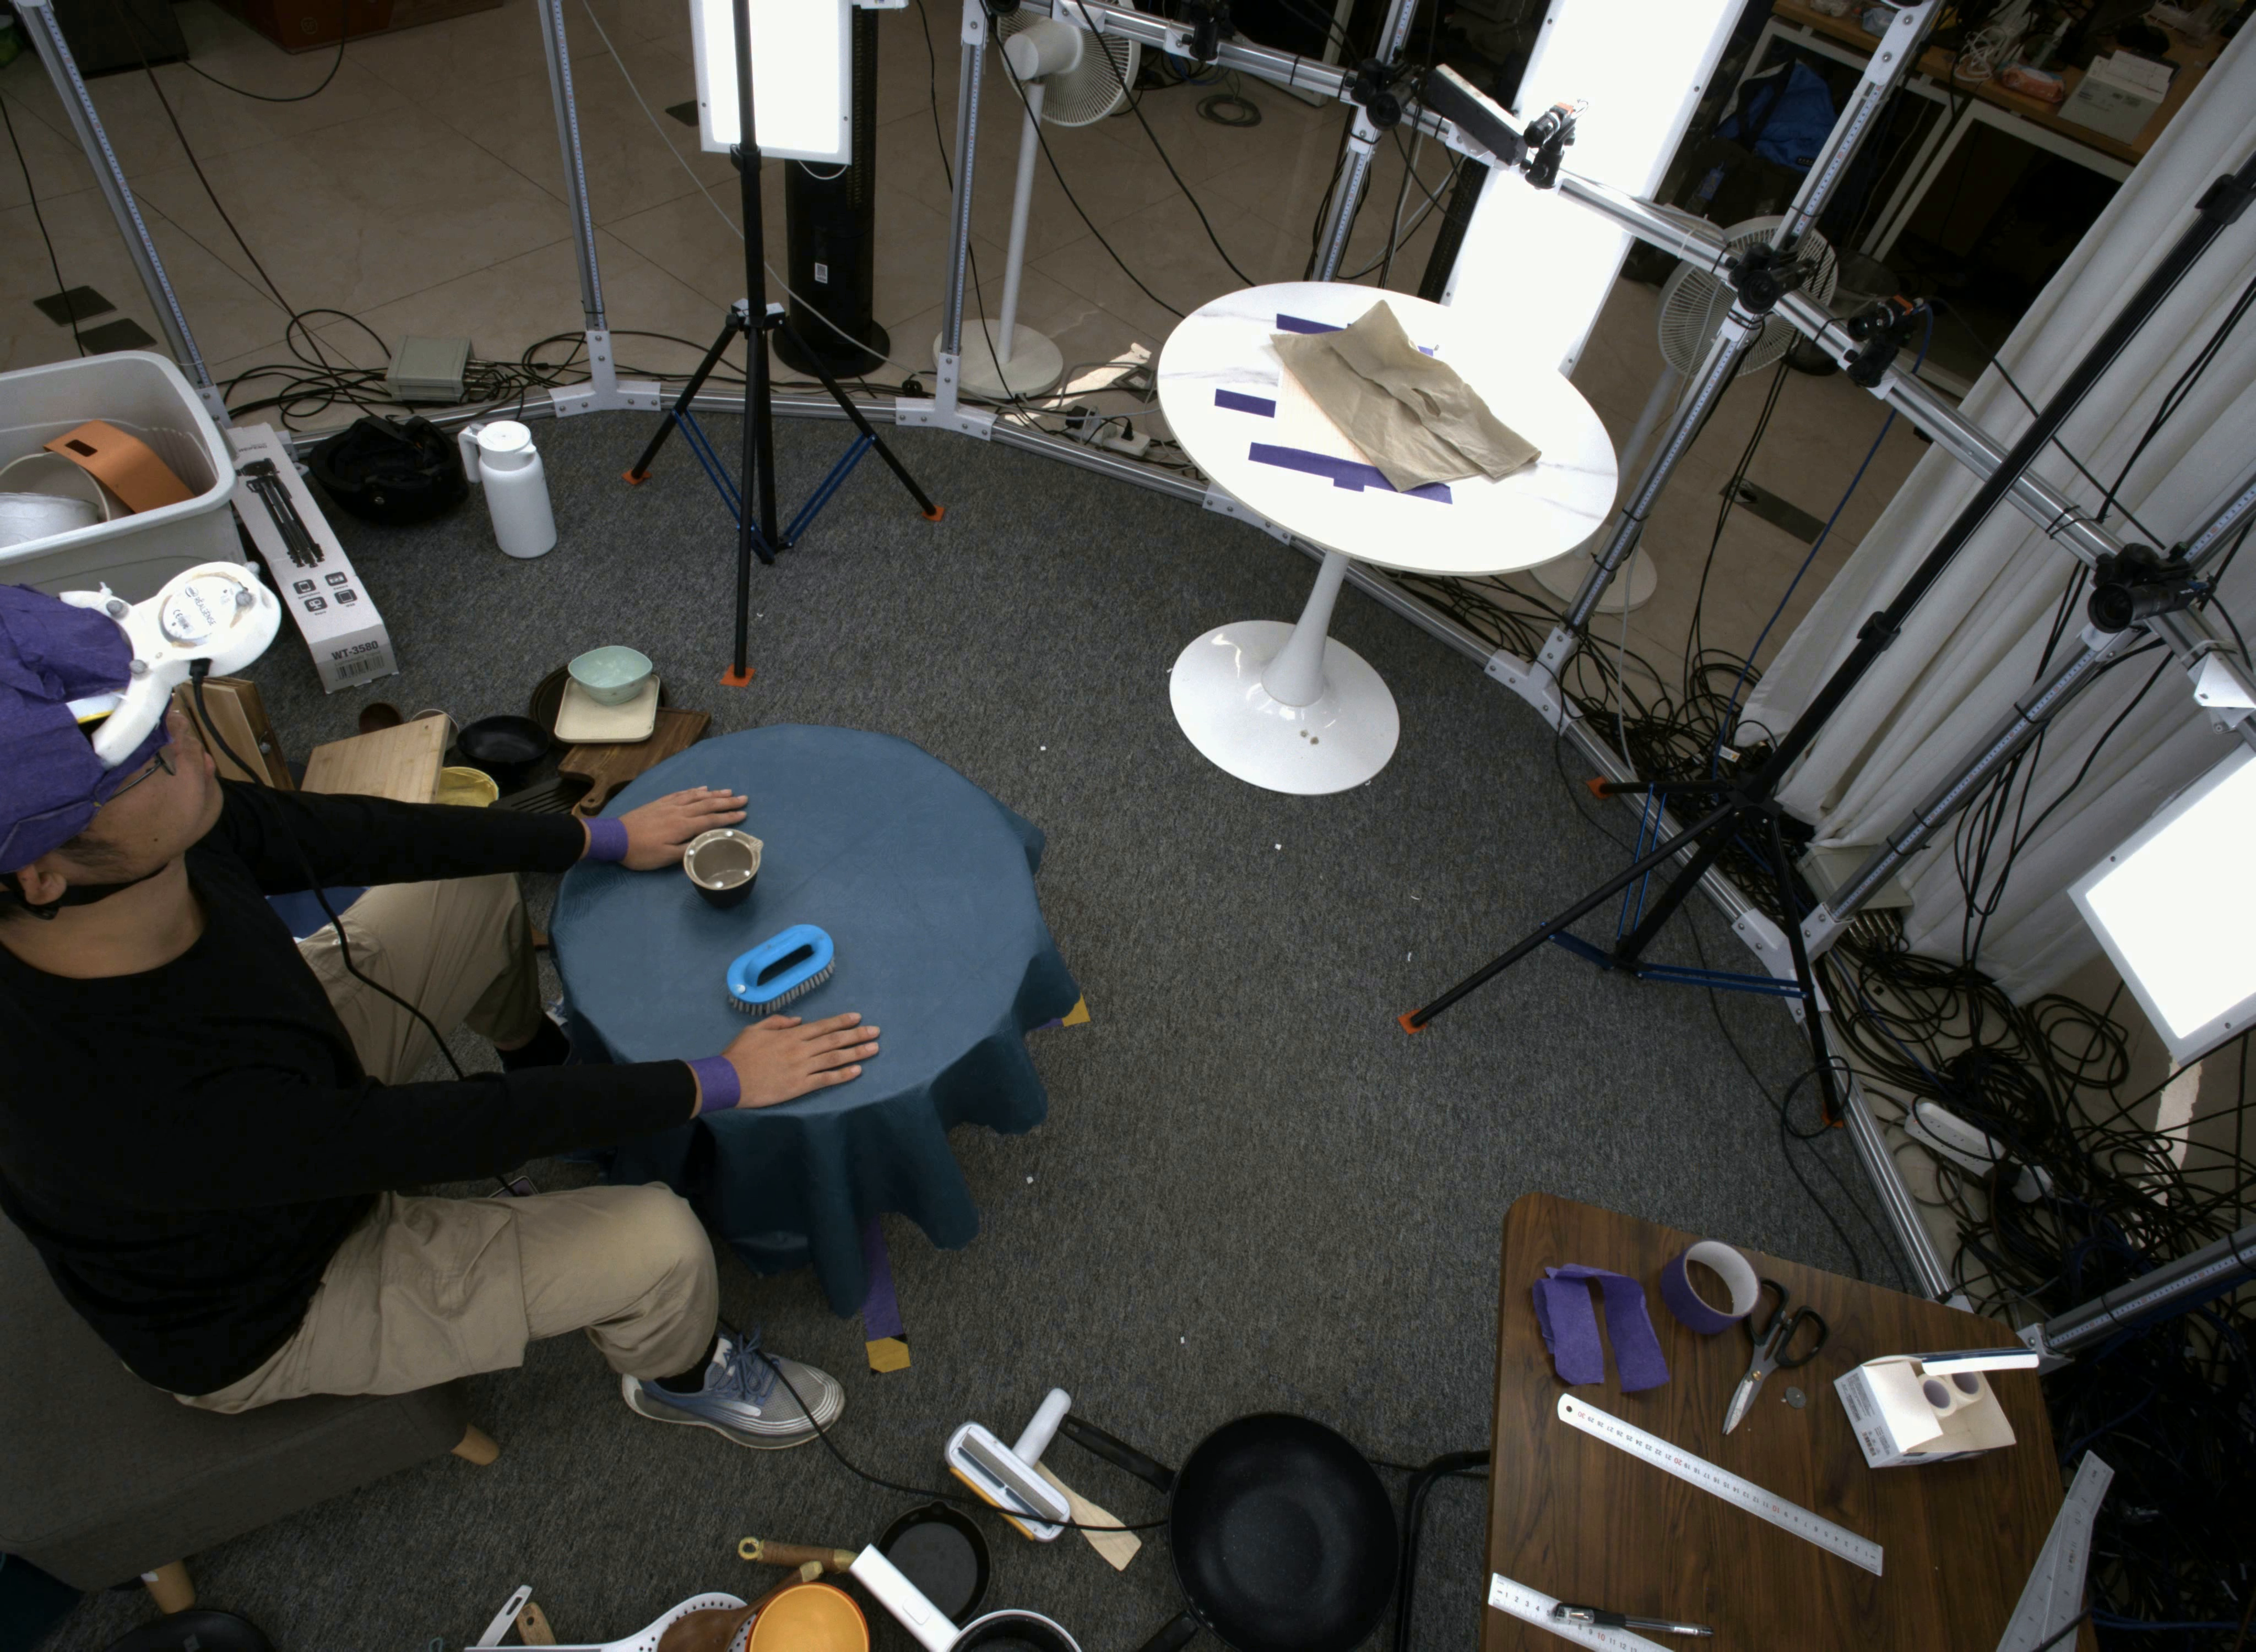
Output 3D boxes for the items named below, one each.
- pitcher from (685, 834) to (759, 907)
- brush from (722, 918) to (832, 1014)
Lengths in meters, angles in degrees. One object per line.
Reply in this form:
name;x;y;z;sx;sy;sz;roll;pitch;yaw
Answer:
pitcher;-0.506;0.056;1.617;0.096;0.073;0.081;-21;59;-28
brush;-0.422;0.161;1.566;0.142;0.065;0.083;-32;70;-30
